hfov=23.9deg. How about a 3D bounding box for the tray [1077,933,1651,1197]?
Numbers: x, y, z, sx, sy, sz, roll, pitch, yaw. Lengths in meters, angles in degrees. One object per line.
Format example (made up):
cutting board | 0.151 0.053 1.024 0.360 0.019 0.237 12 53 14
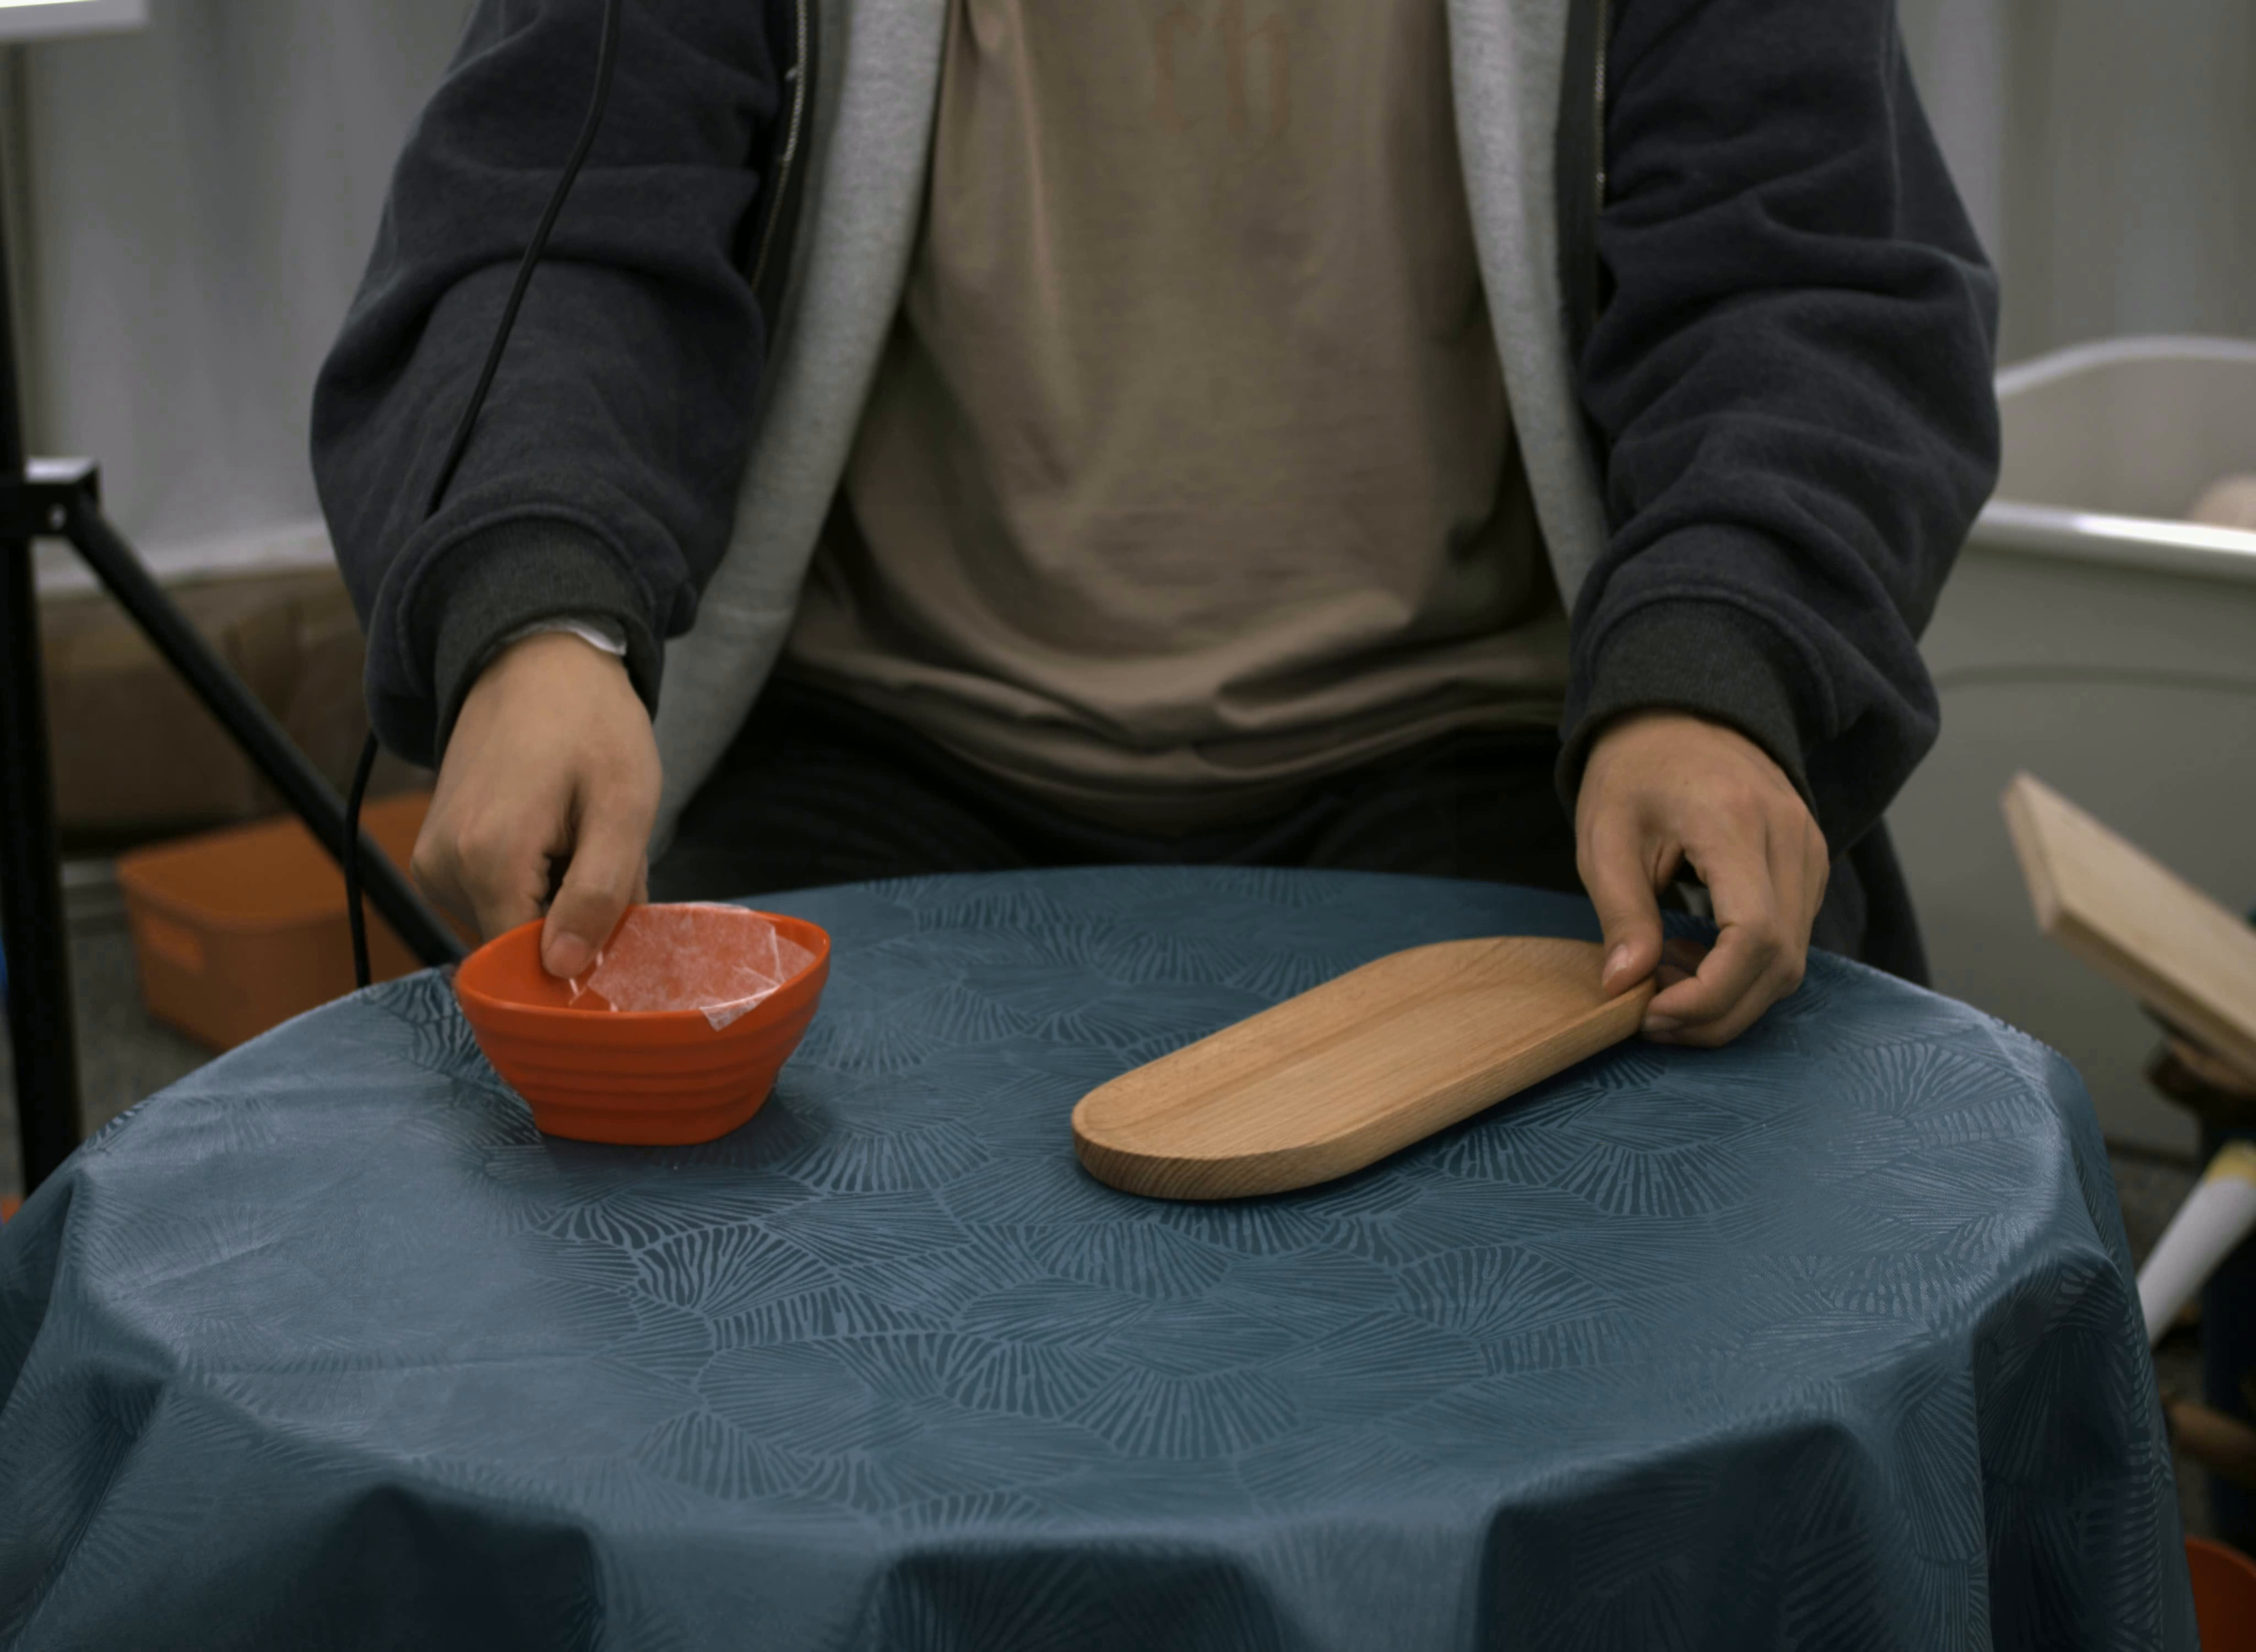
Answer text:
tray | 0.076 0.072 1.634 0.104 0.020 0.226 8 19 39

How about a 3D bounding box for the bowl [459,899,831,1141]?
bowl | -0.147 0.062 1.648 0.118 0.051 0.119 -4 16 0
